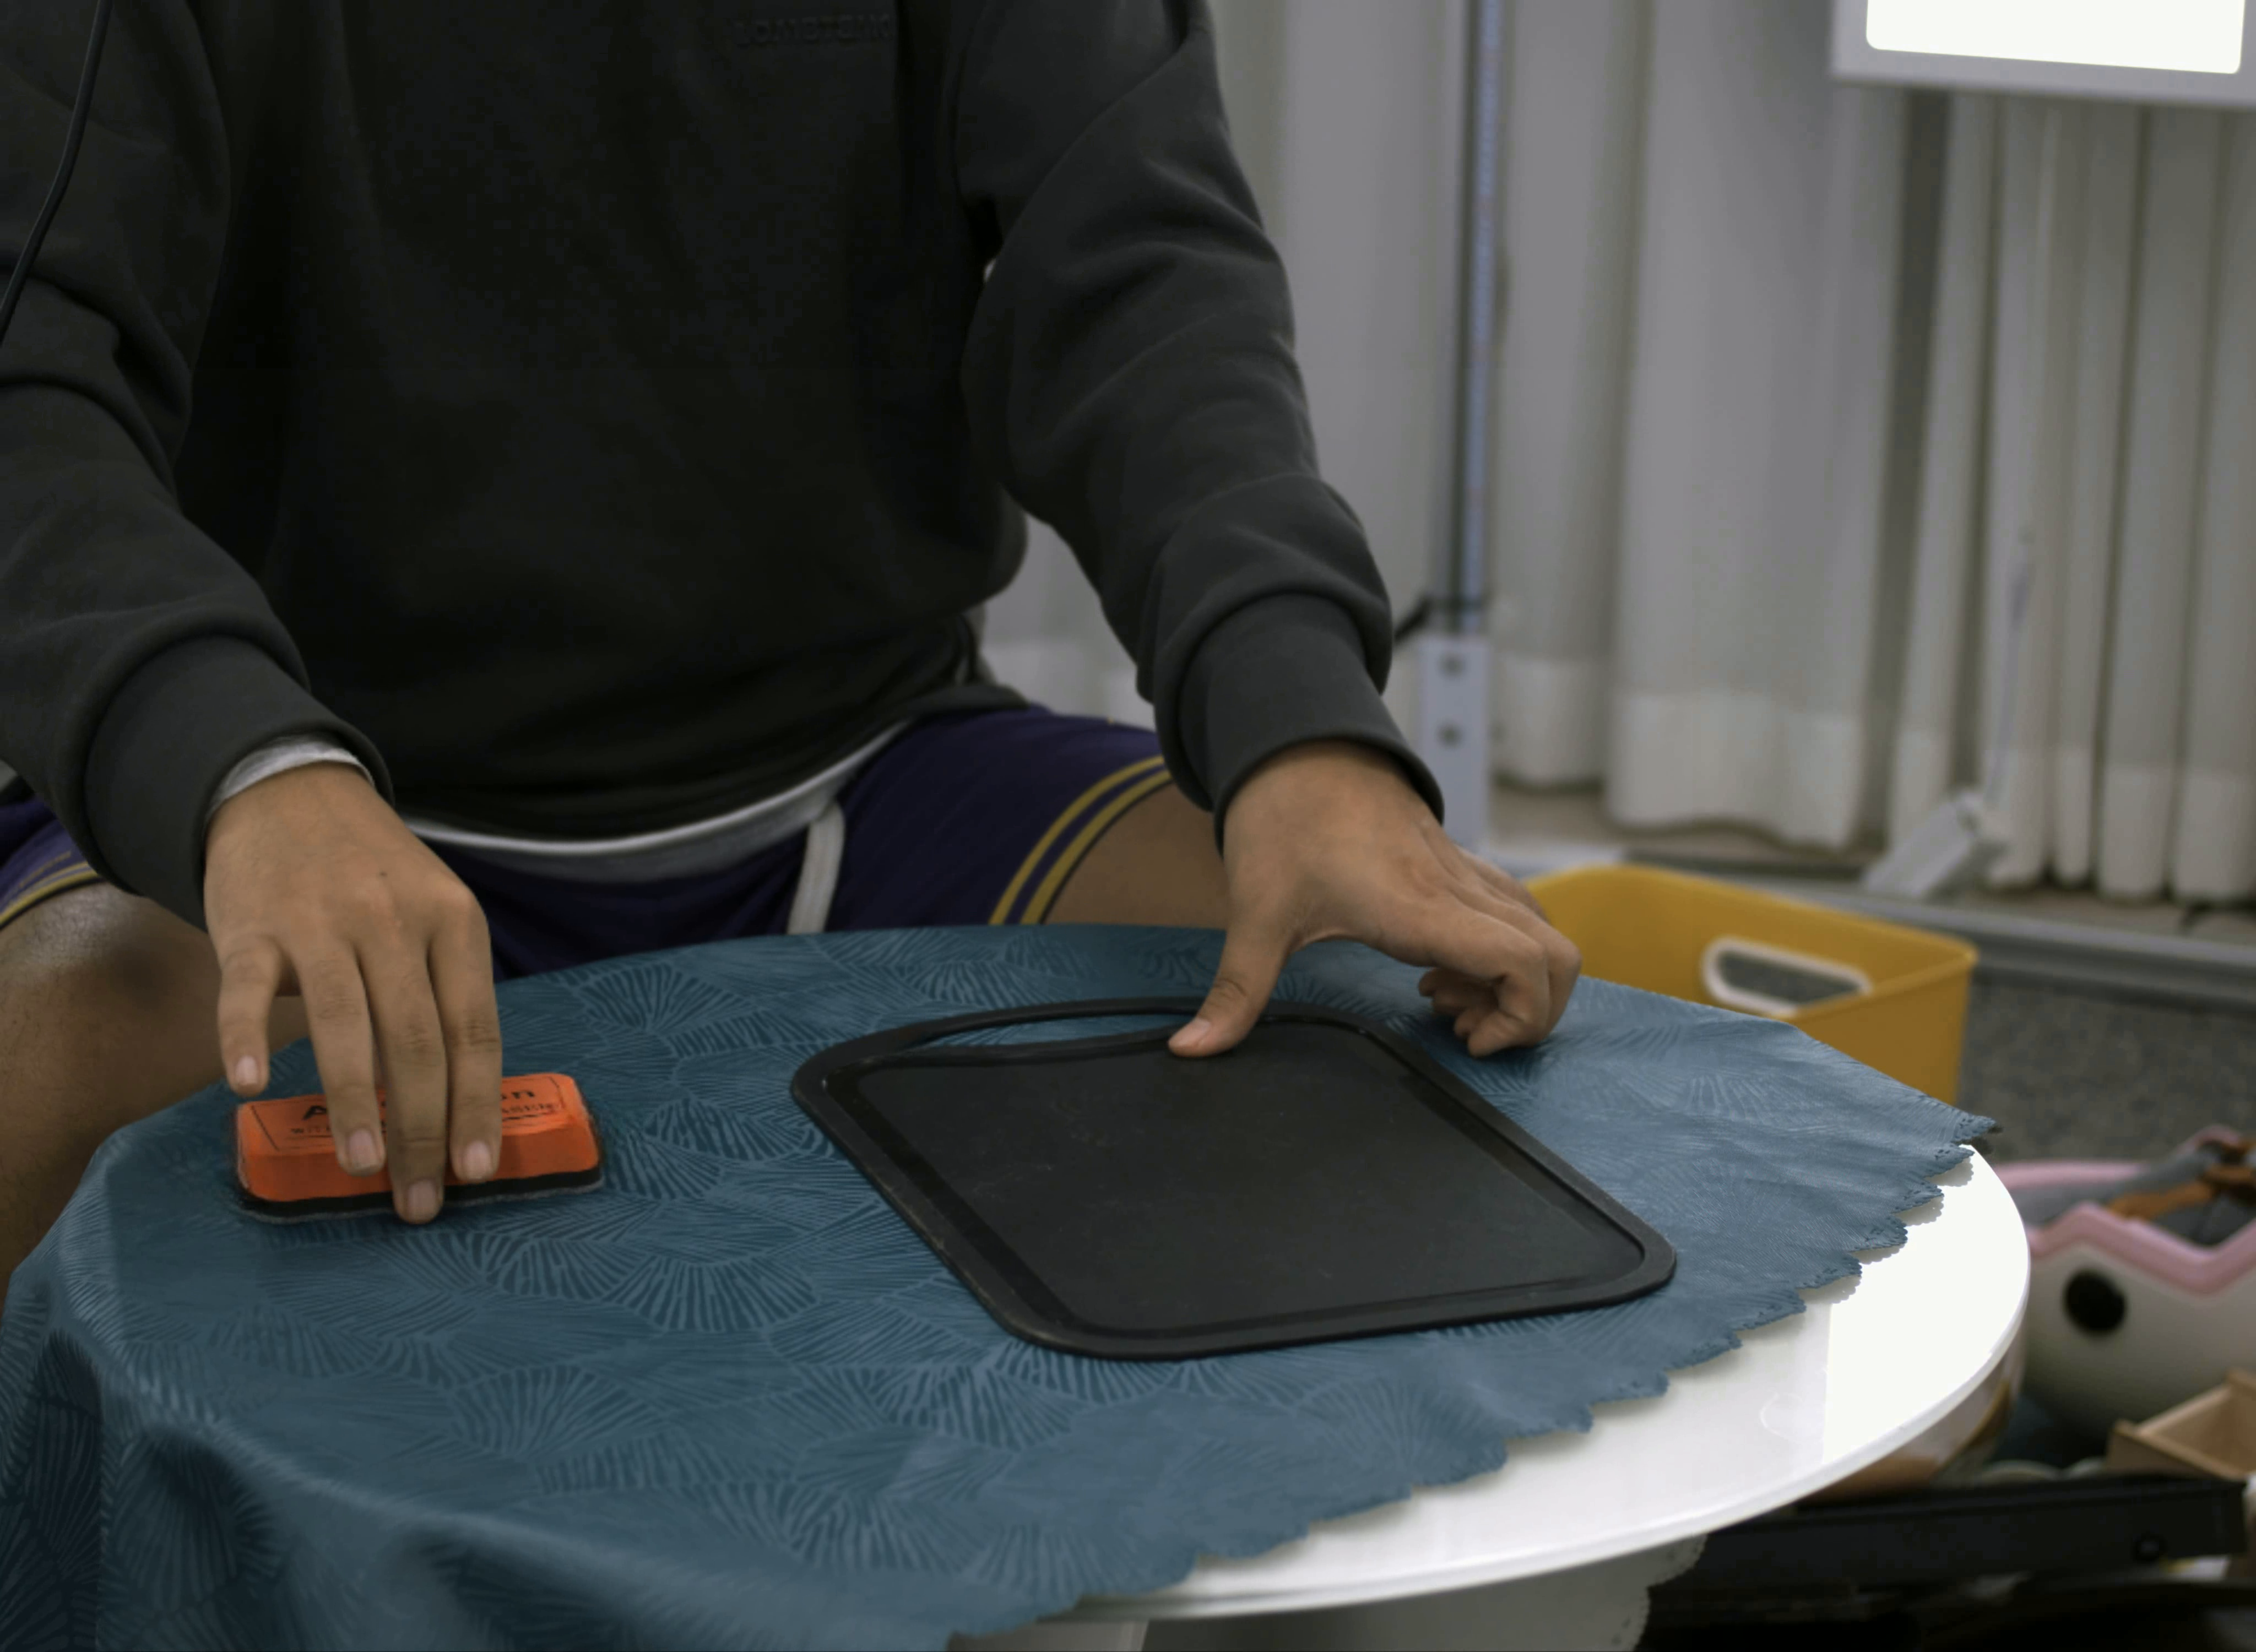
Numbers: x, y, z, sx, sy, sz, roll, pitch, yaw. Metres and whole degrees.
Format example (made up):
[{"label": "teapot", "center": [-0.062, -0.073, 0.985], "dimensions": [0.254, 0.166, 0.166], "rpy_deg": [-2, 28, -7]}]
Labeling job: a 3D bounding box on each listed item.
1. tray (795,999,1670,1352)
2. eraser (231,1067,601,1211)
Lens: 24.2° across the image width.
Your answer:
[{"label": "tray", "center": [0.022, 0.102, 1.650], "dimensions": [0.211, 0.010, 0.322], "rpy_deg": [-4, 16, -19]}, {"label": "eraser", "center": [-0.219, 0.096, 1.620], "dimensions": [0.108, 0.023, 0.058], "rpy_deg": [-4, 16, -19]}]
